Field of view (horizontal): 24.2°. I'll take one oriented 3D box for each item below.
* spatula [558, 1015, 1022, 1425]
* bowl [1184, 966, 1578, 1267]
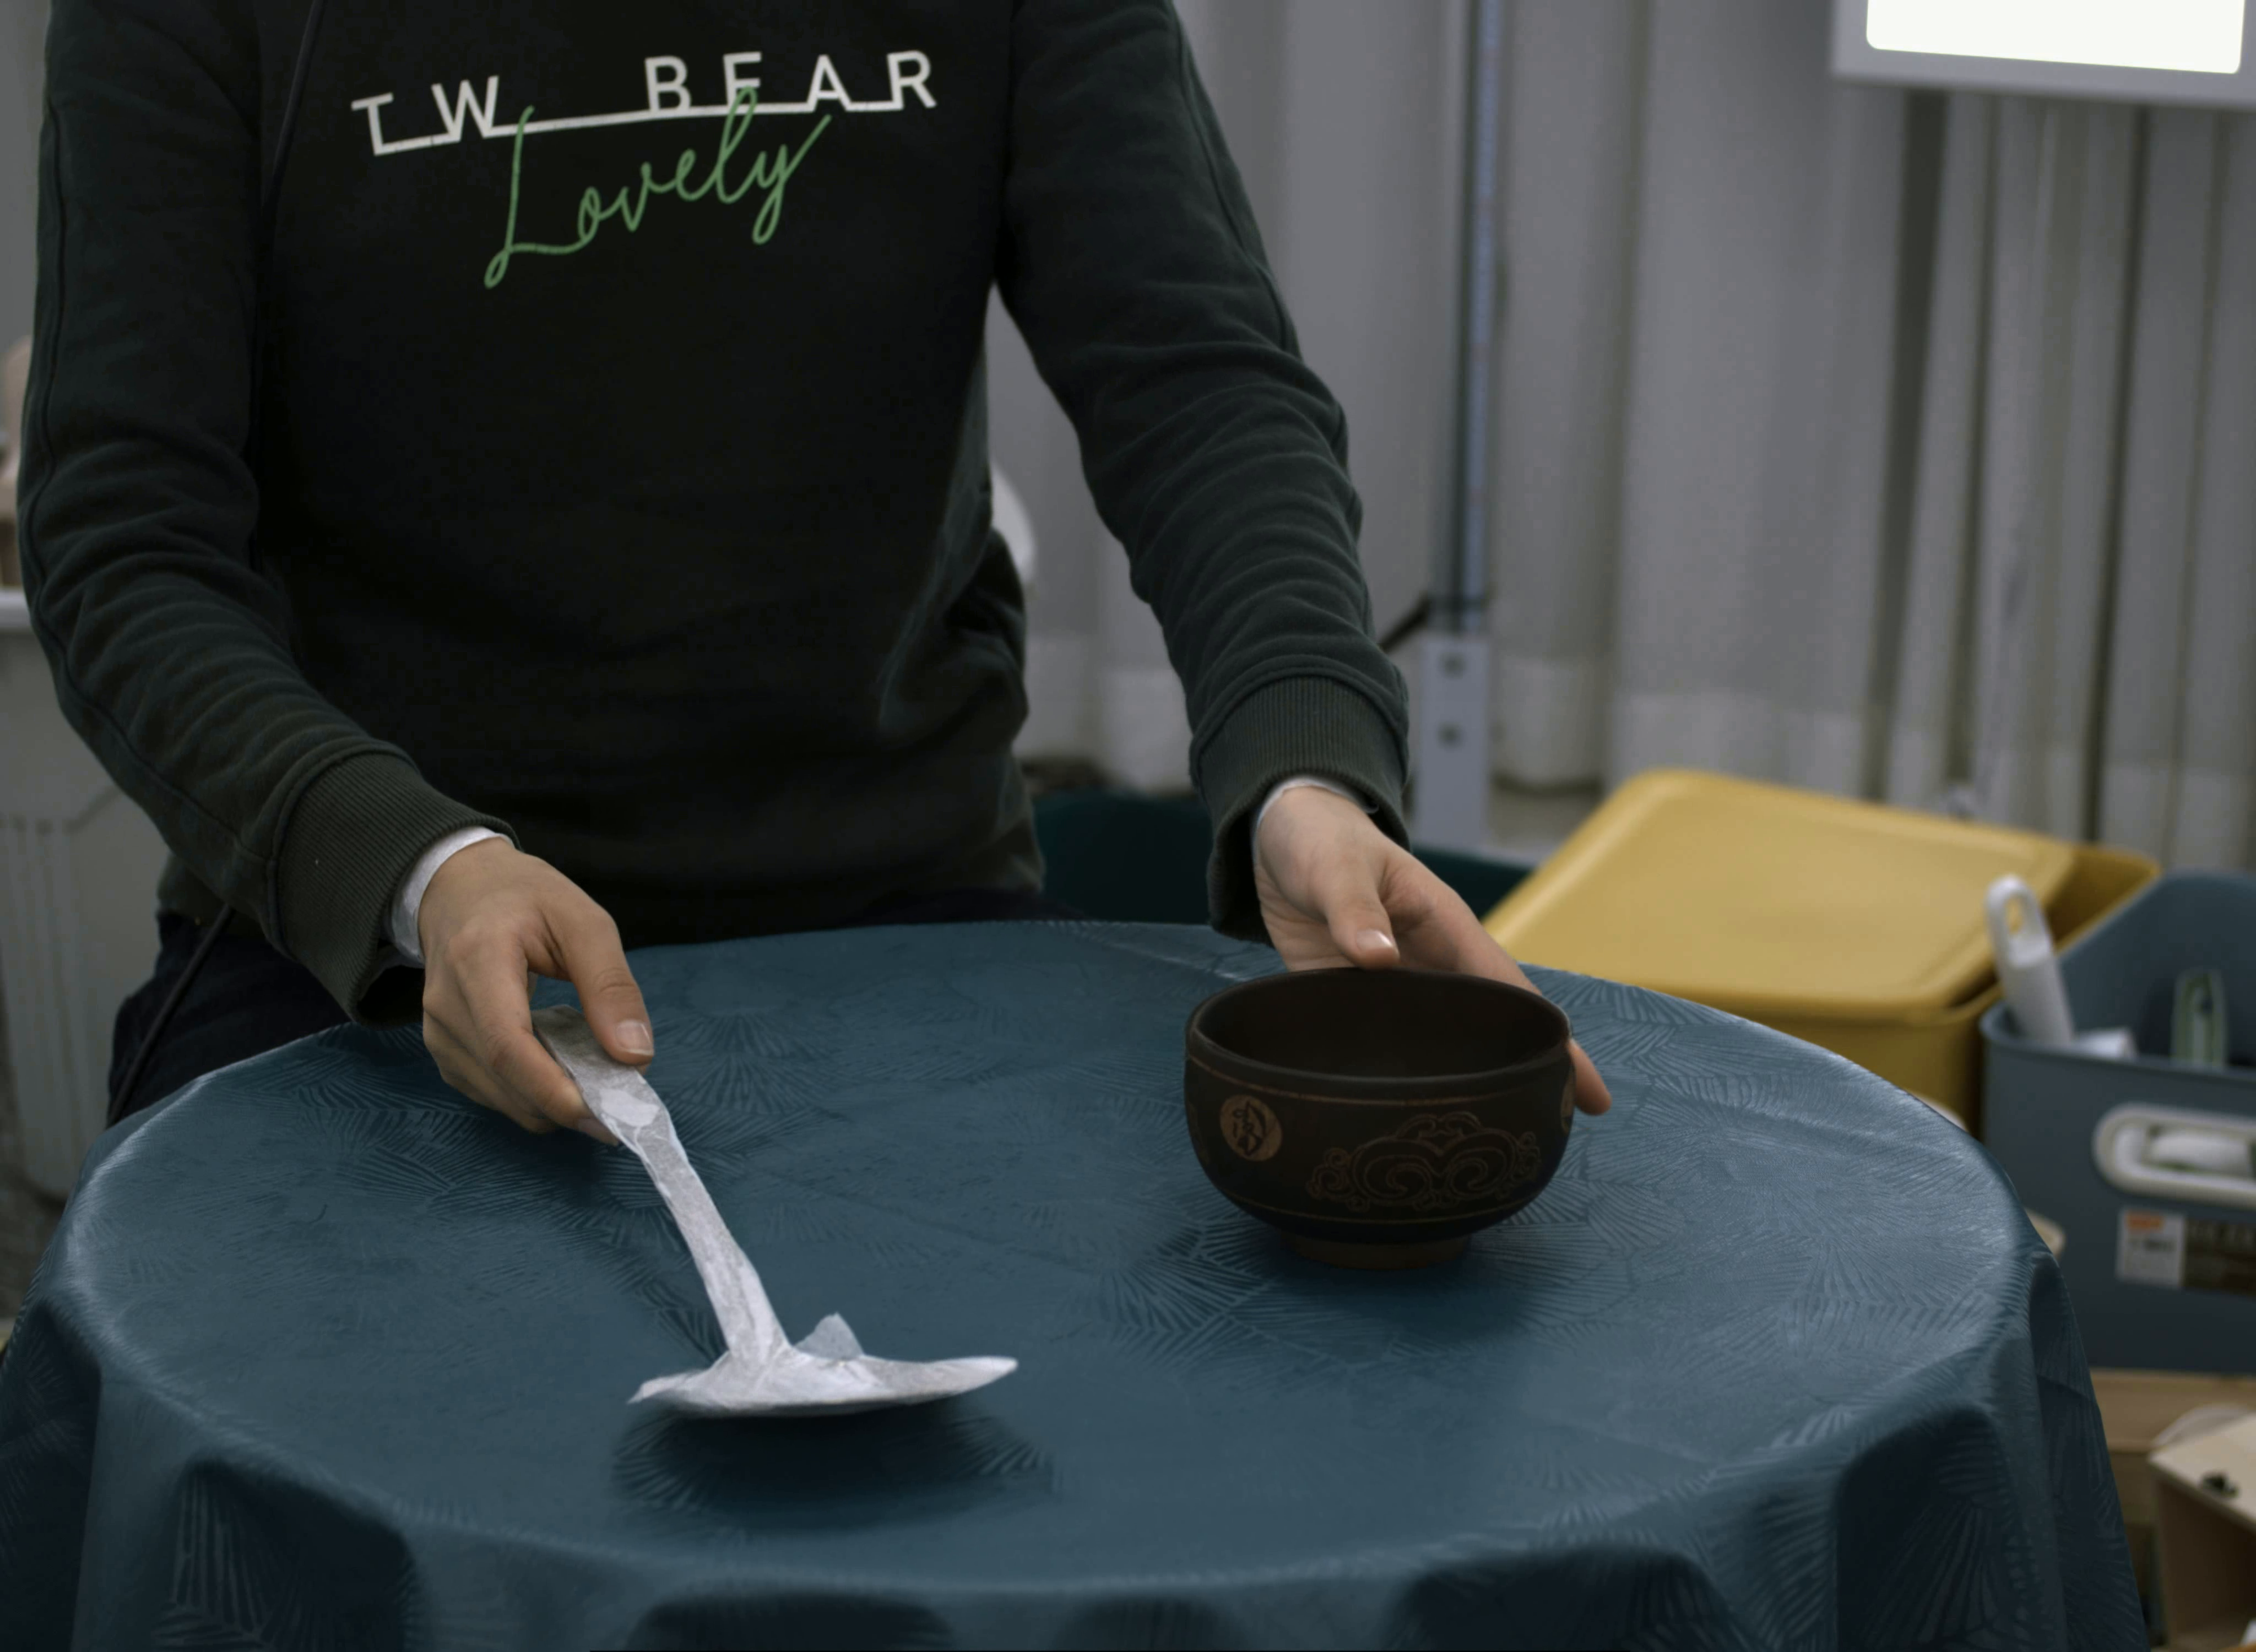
[{"bbox_3d":[-0.124,0.107,1.540,0.099,0.045,0.360,-5,22,-18],"label":"spatula"},{"bbox_3d":[0.075,0.090,1.577,0.117,0.070,0.117,2,15,0],"label":"bowl"}]
